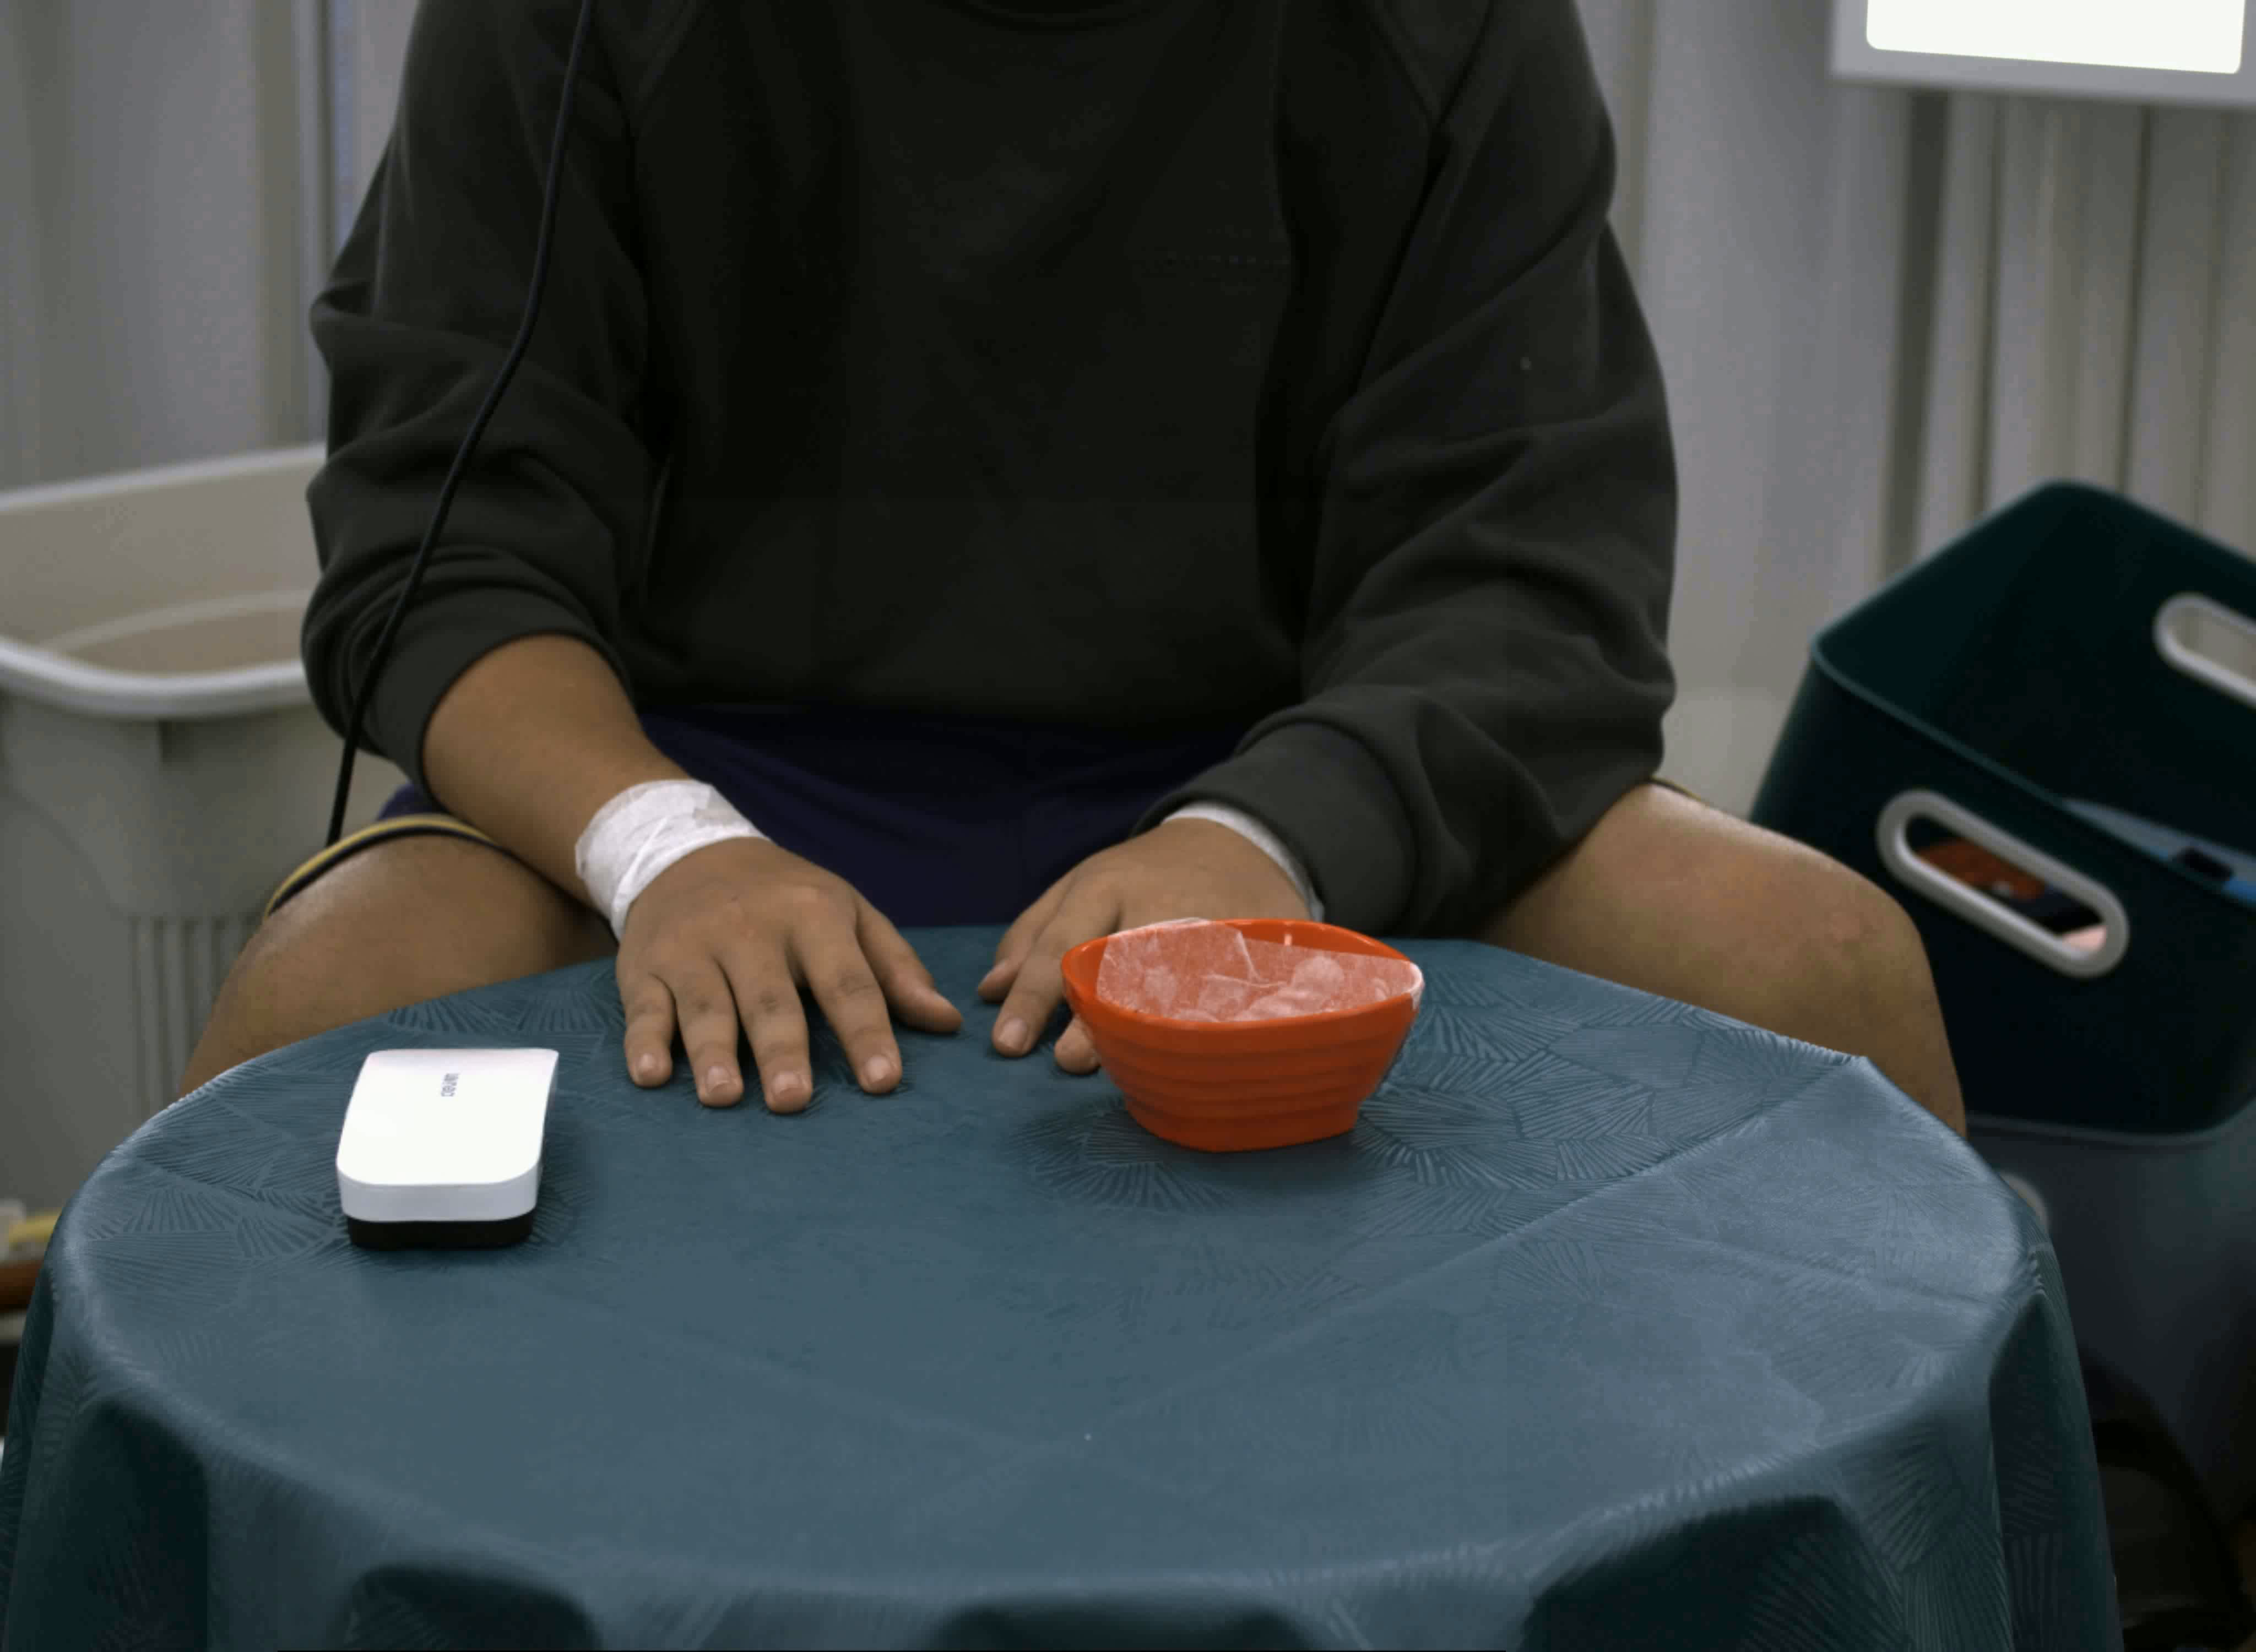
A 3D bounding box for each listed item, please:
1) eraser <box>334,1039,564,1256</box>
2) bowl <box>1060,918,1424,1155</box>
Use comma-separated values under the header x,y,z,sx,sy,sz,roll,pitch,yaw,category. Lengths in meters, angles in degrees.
x,y,z,sx,sy,sz,roll,pitch,yaw,category
-0.206,0.094,1.619,0.063,0.035,0.130,2,17,-1,eraser
0.036,0.069,1.685,0.118,0.052,0.118,0,16,1,bowl
